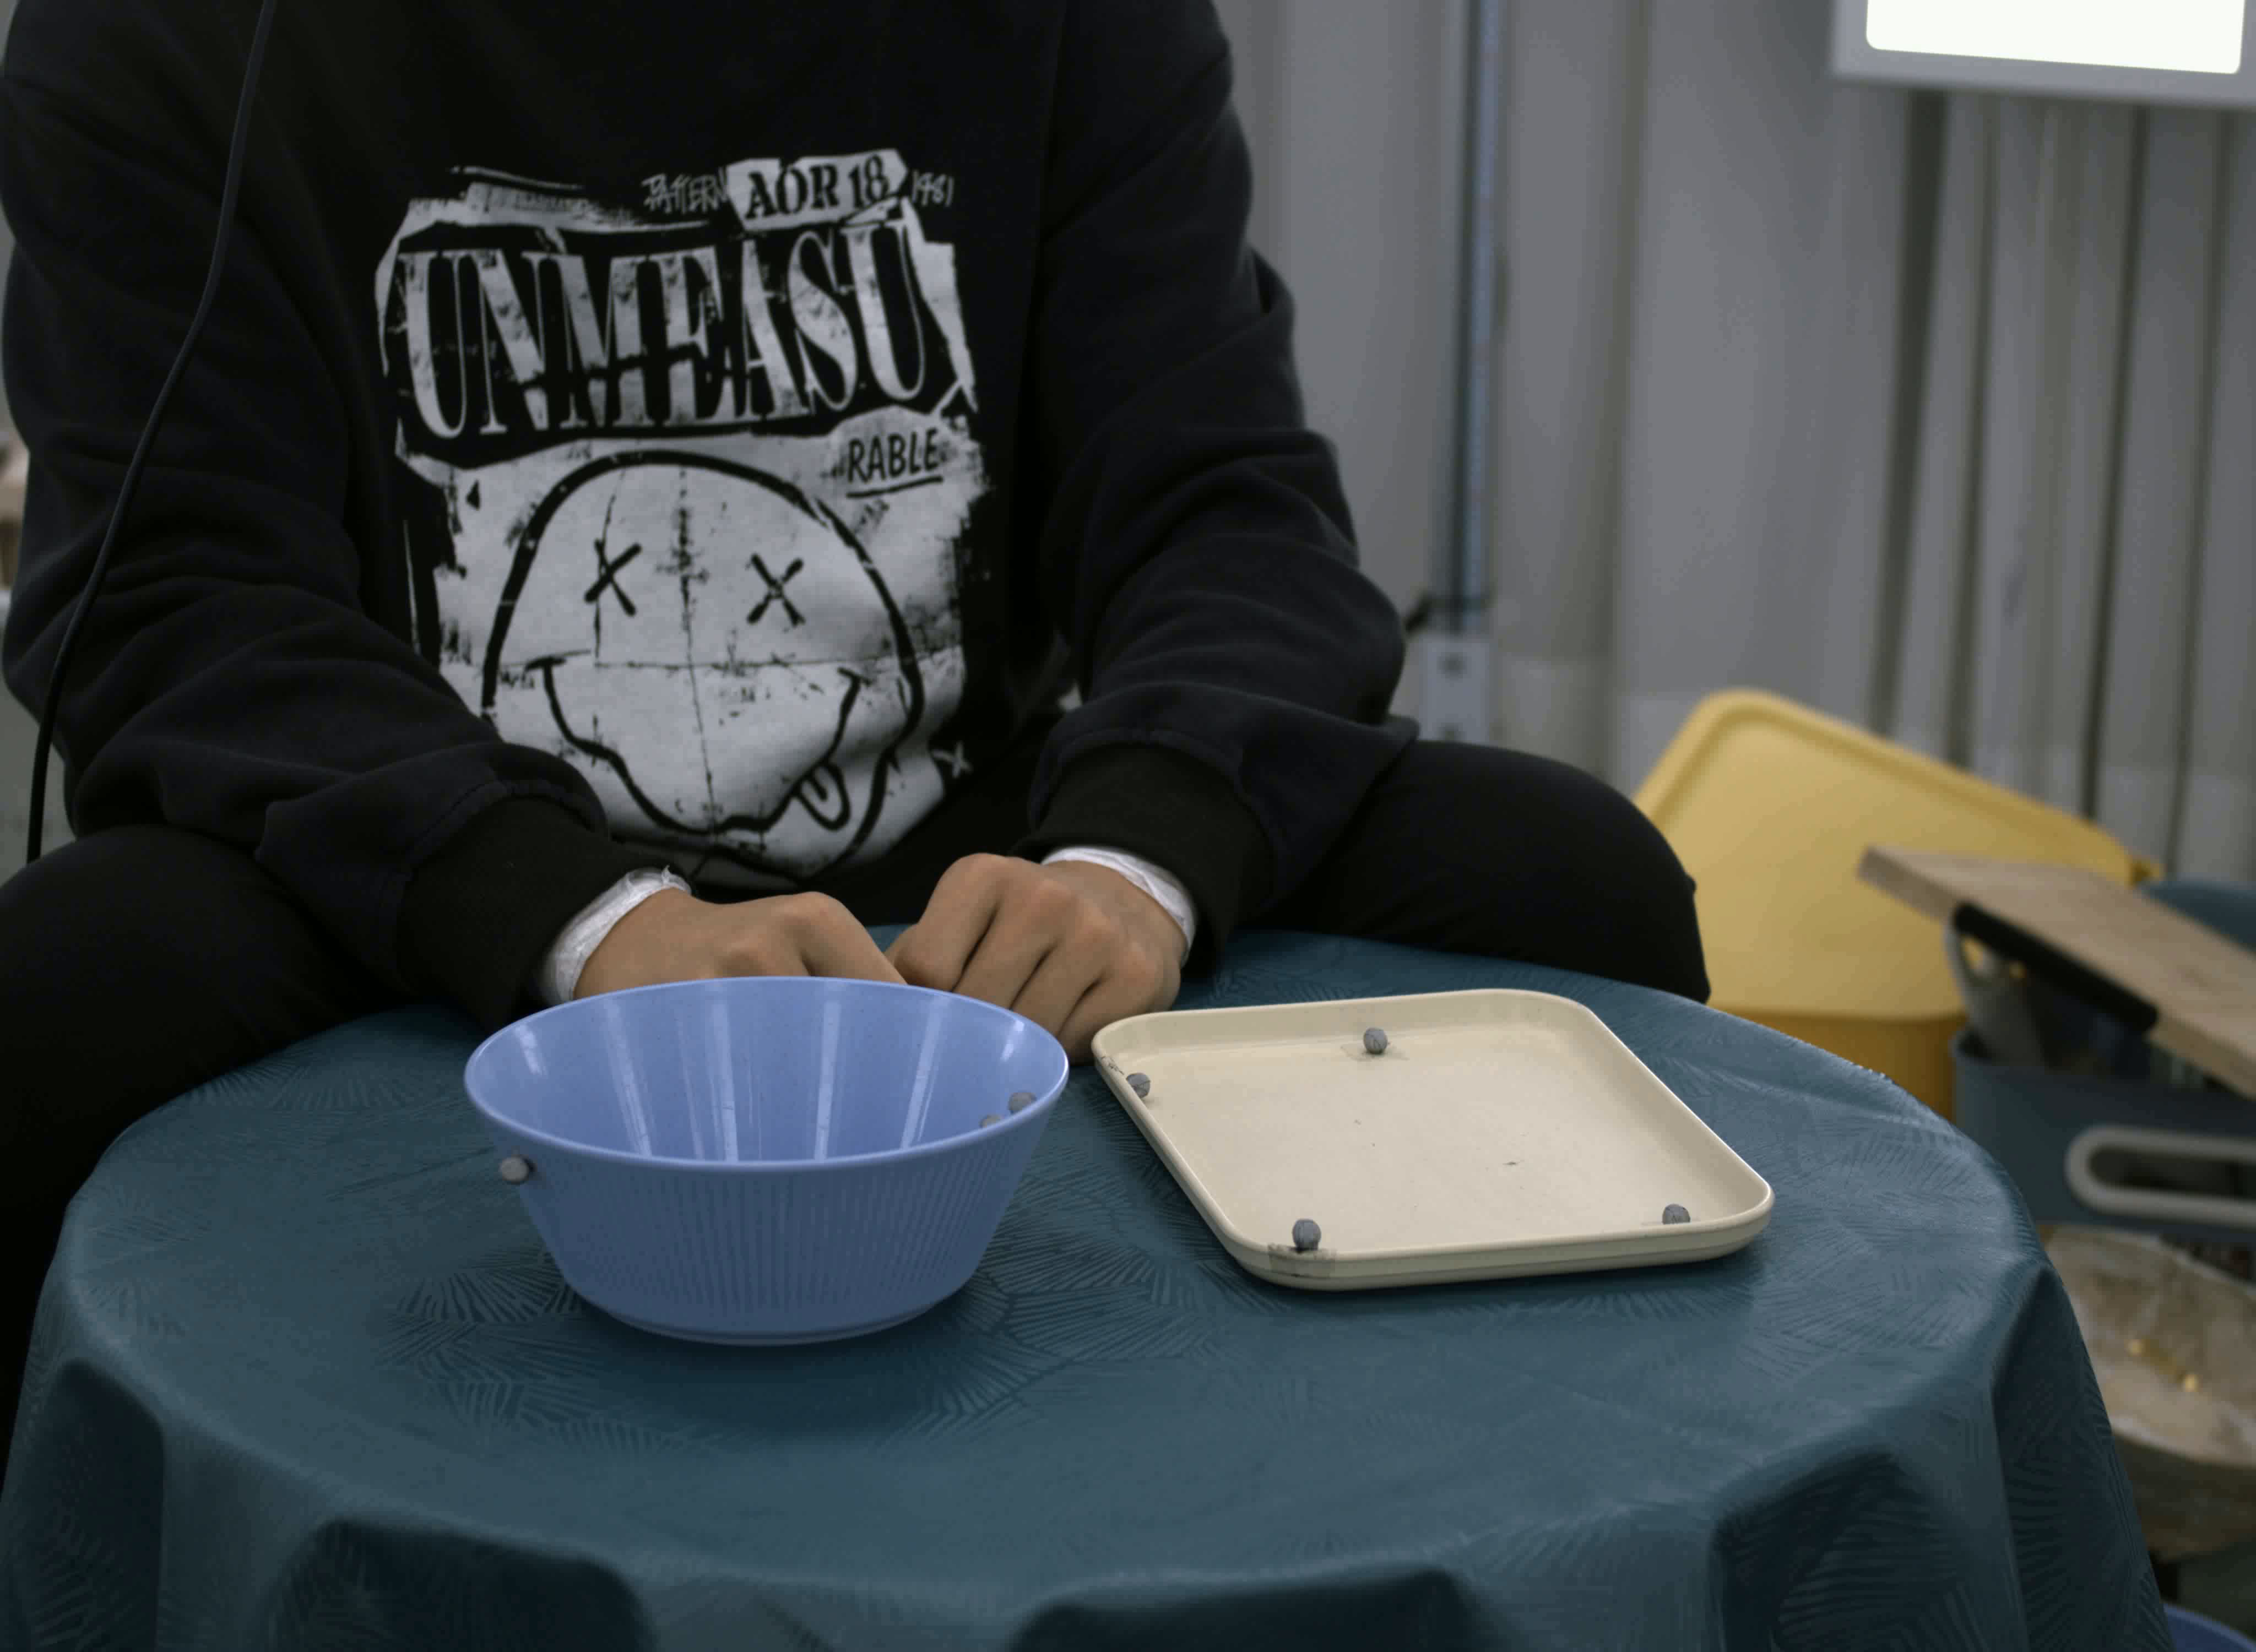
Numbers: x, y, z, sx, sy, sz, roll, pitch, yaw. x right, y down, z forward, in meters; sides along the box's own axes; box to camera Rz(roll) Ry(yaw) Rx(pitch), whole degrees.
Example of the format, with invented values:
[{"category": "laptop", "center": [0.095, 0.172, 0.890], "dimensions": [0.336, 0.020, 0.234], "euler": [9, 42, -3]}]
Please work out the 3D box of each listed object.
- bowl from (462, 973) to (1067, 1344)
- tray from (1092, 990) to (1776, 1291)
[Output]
[{"category": "bowl", "center": [-0.106, 0.100, 1.537], "dimensions": [0.175, 0.071, 0.175], "euler": [1, 17, 0]}, {"category": "tray", "center": [0.091, 0.097, 1.652], "dimensions": [0.171, 0.017, 0.237], "euler": [-2, 16, -13]}]
